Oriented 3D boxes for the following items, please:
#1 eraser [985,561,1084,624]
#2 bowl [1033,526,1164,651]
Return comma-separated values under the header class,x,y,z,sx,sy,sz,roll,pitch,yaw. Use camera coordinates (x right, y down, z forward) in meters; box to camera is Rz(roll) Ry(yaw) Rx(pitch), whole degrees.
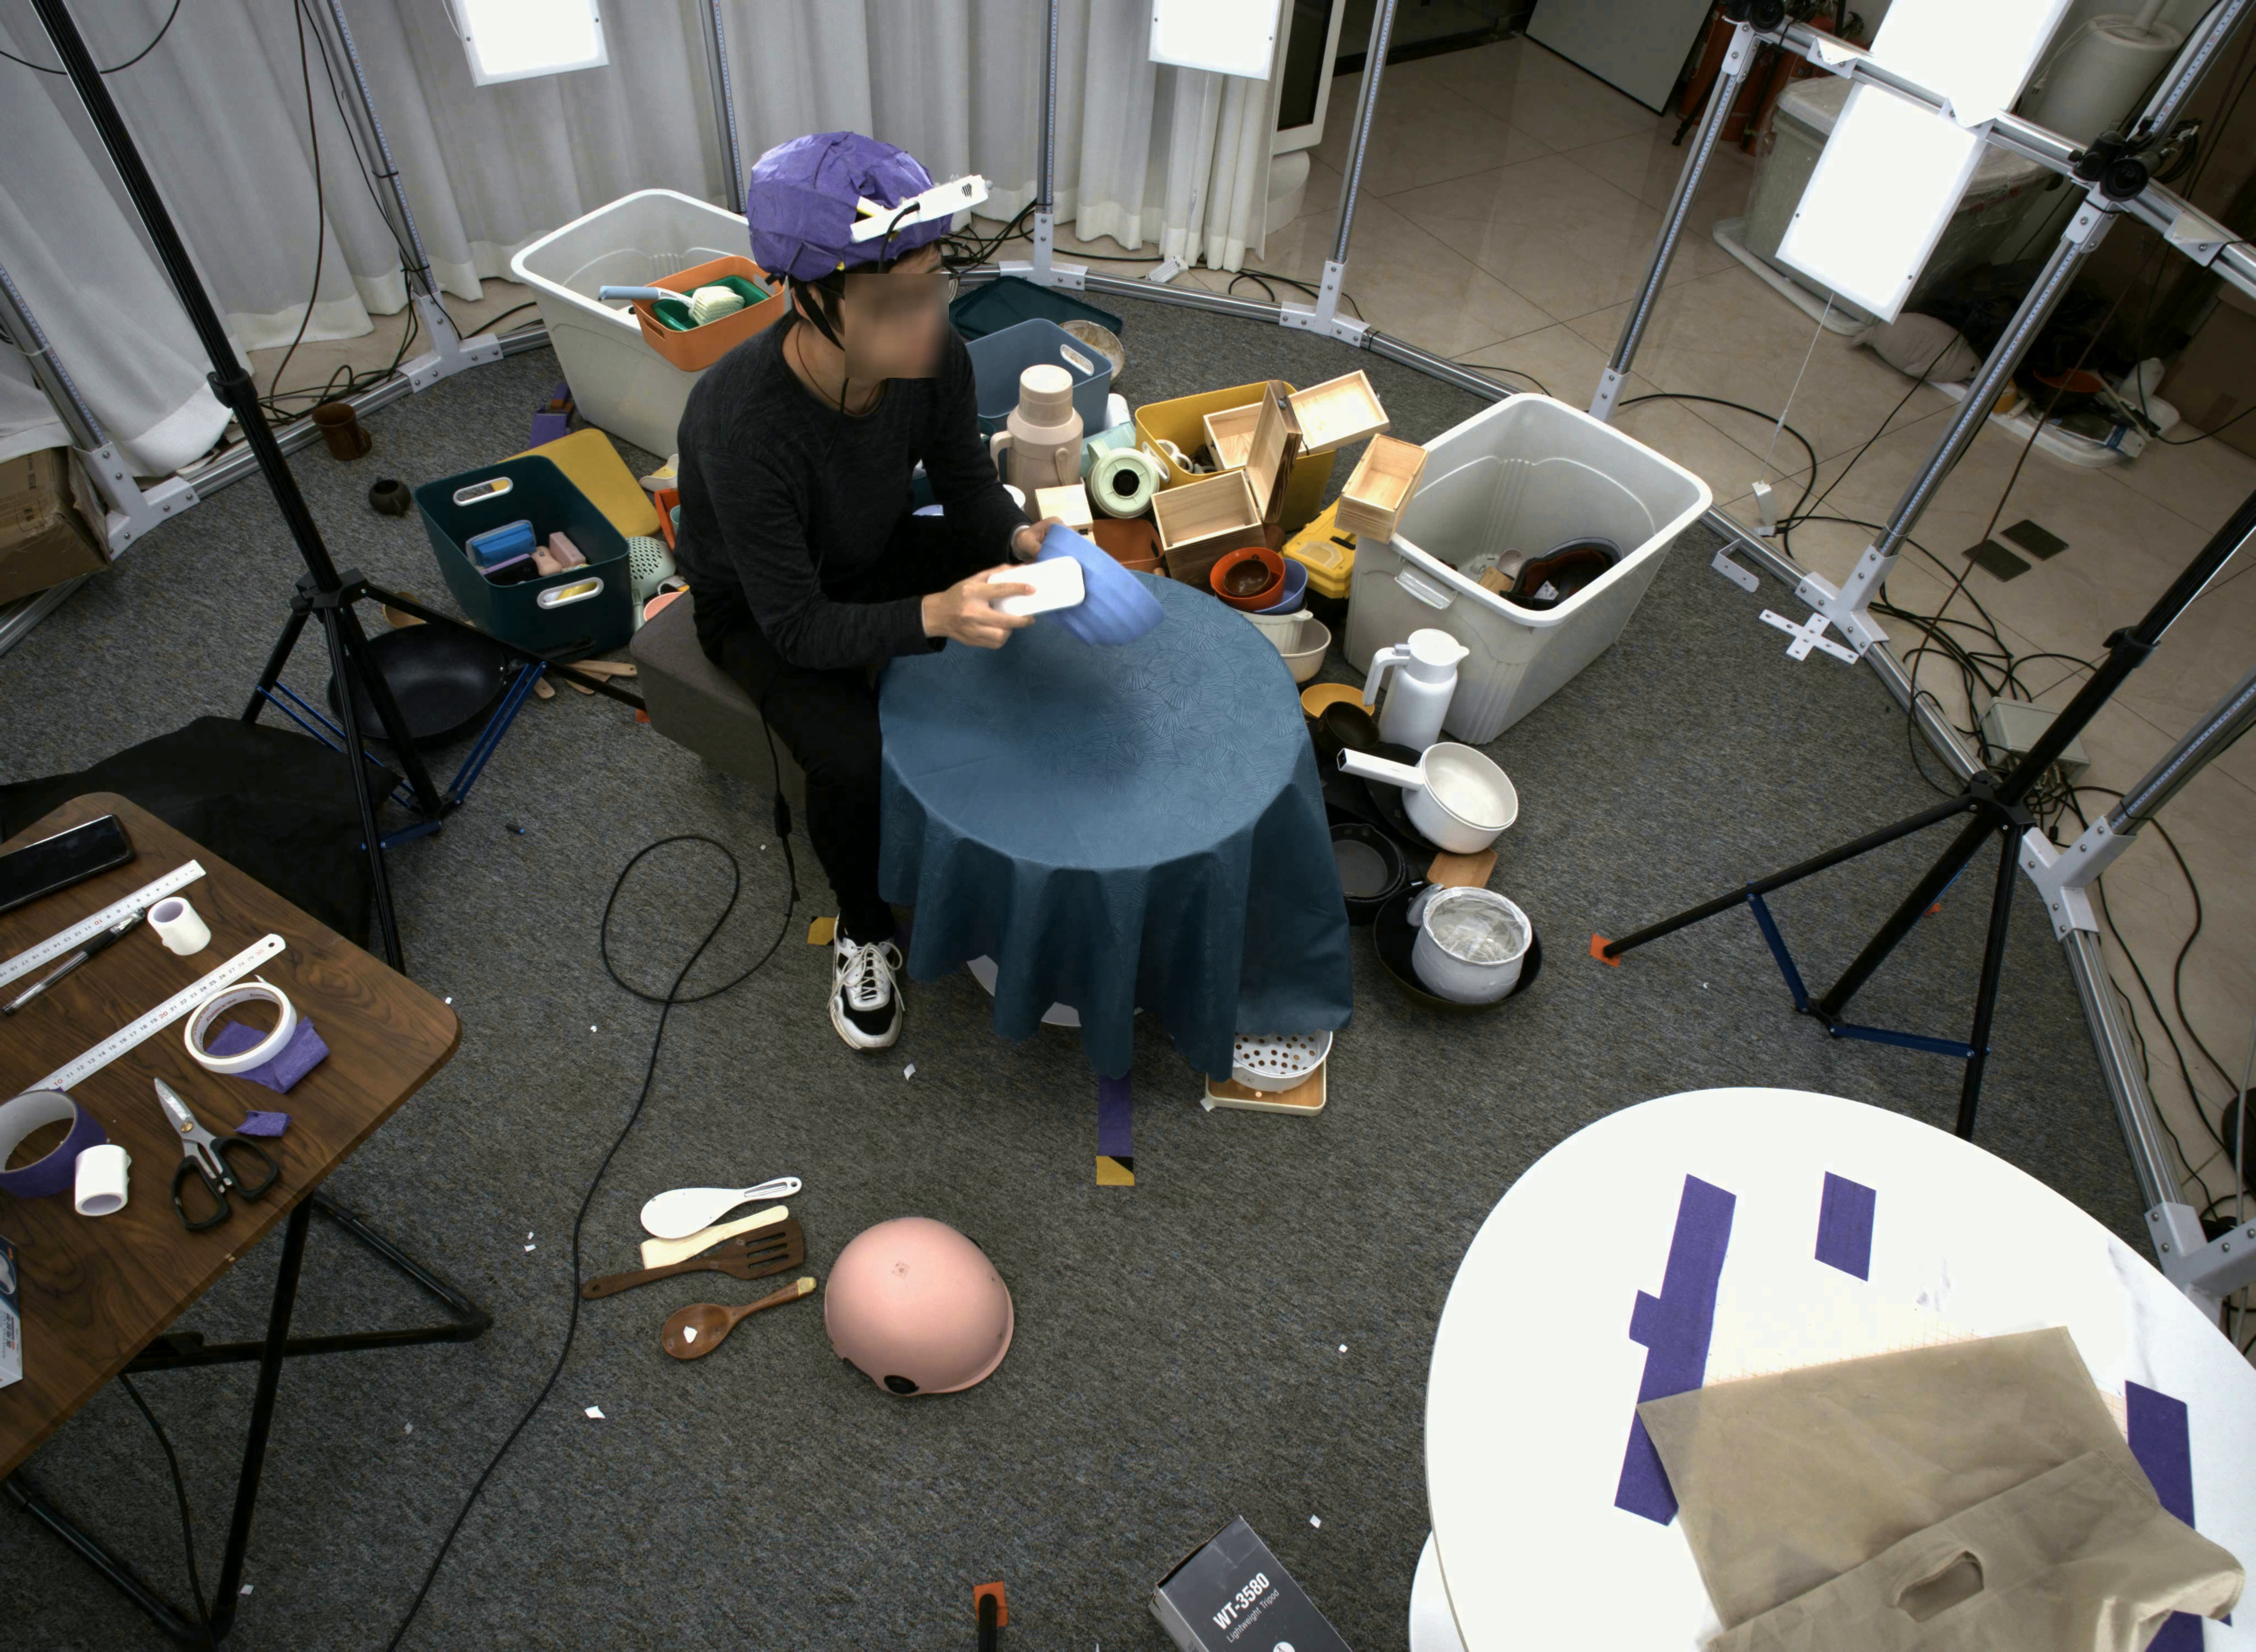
class,x,y,z,sx,sy,sz,roll,pitch,yaw
eraser,-0.120,-0.297,1.636,0.131,0.034,0.064,-8,82,20
bowl,-0.058,-0.300,1.718,0.199,0.193,0.095,39,89,25
